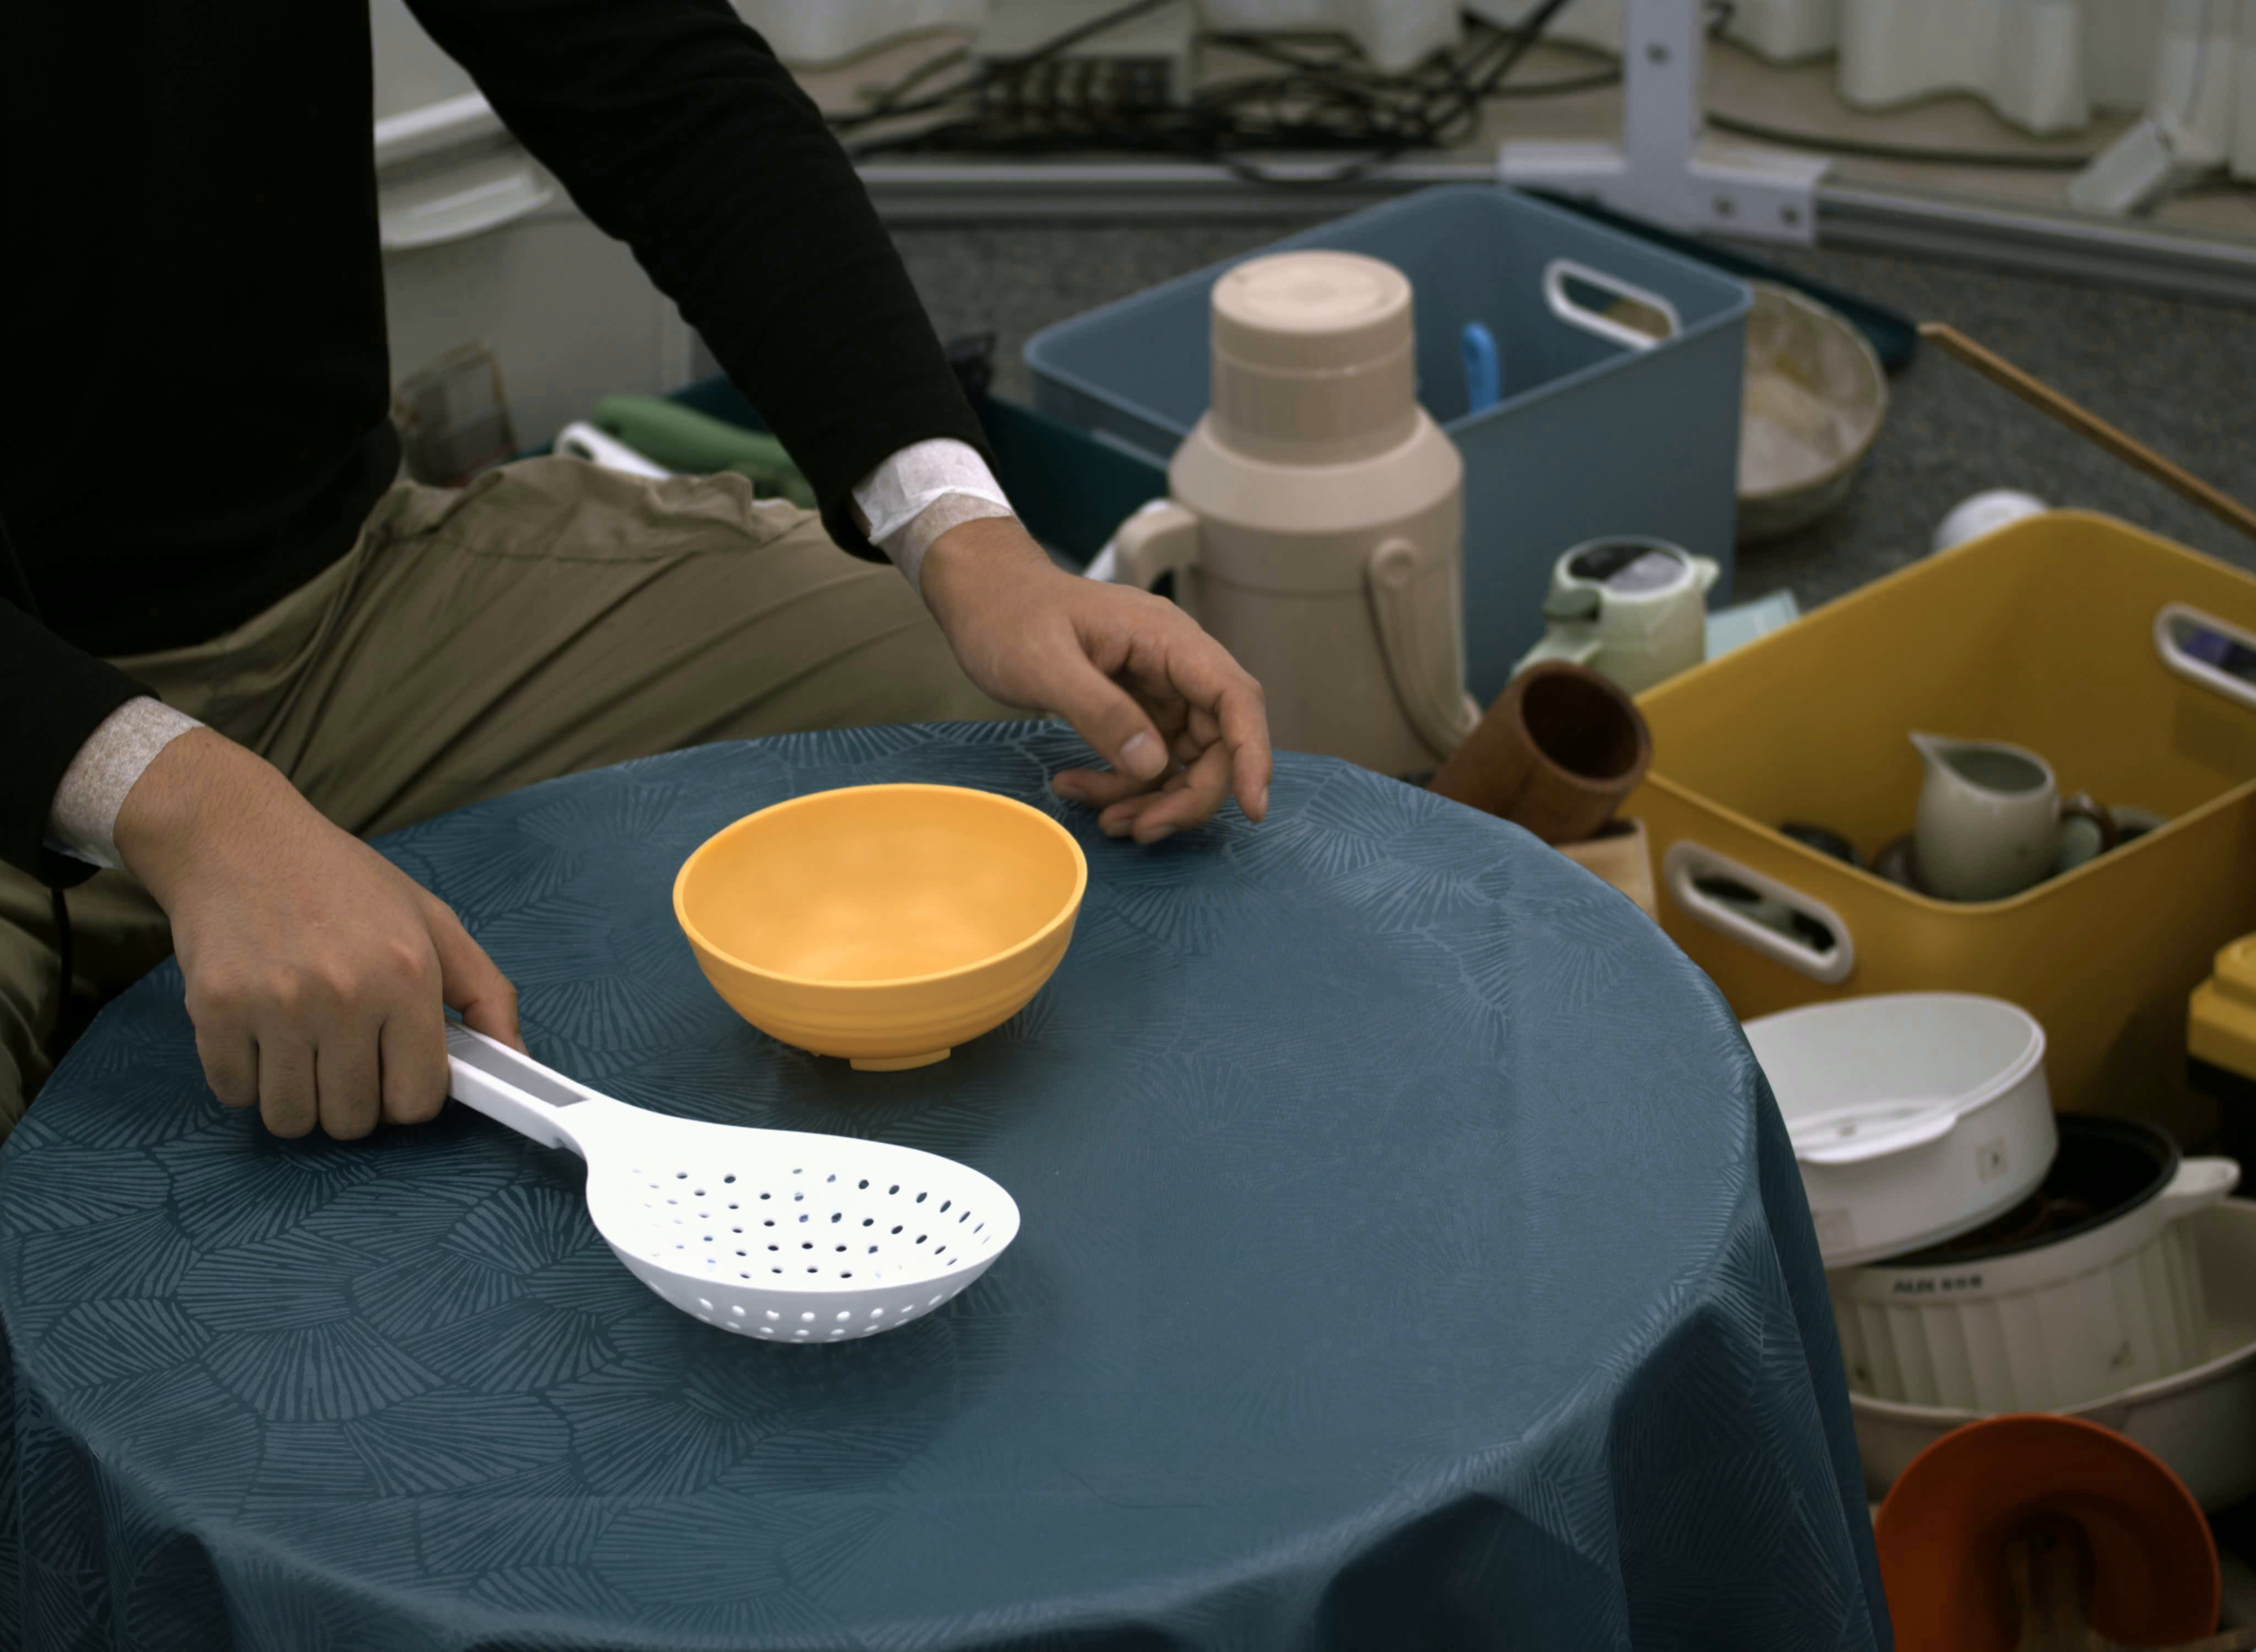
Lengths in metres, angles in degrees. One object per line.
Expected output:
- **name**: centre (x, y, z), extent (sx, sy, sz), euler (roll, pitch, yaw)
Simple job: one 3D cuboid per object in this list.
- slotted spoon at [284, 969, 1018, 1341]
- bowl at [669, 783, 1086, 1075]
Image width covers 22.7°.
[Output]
- **slotted spoon**: centre (-0.174, 0.102, 1.860), extent (0.137, 0.045, 0.349), euler (-11, 26, -40)
- **bowl**: centre (-0.086, 0.045, 1.958), extent (0.144, 0.059, 0.147), euler (0, 28, 1)
